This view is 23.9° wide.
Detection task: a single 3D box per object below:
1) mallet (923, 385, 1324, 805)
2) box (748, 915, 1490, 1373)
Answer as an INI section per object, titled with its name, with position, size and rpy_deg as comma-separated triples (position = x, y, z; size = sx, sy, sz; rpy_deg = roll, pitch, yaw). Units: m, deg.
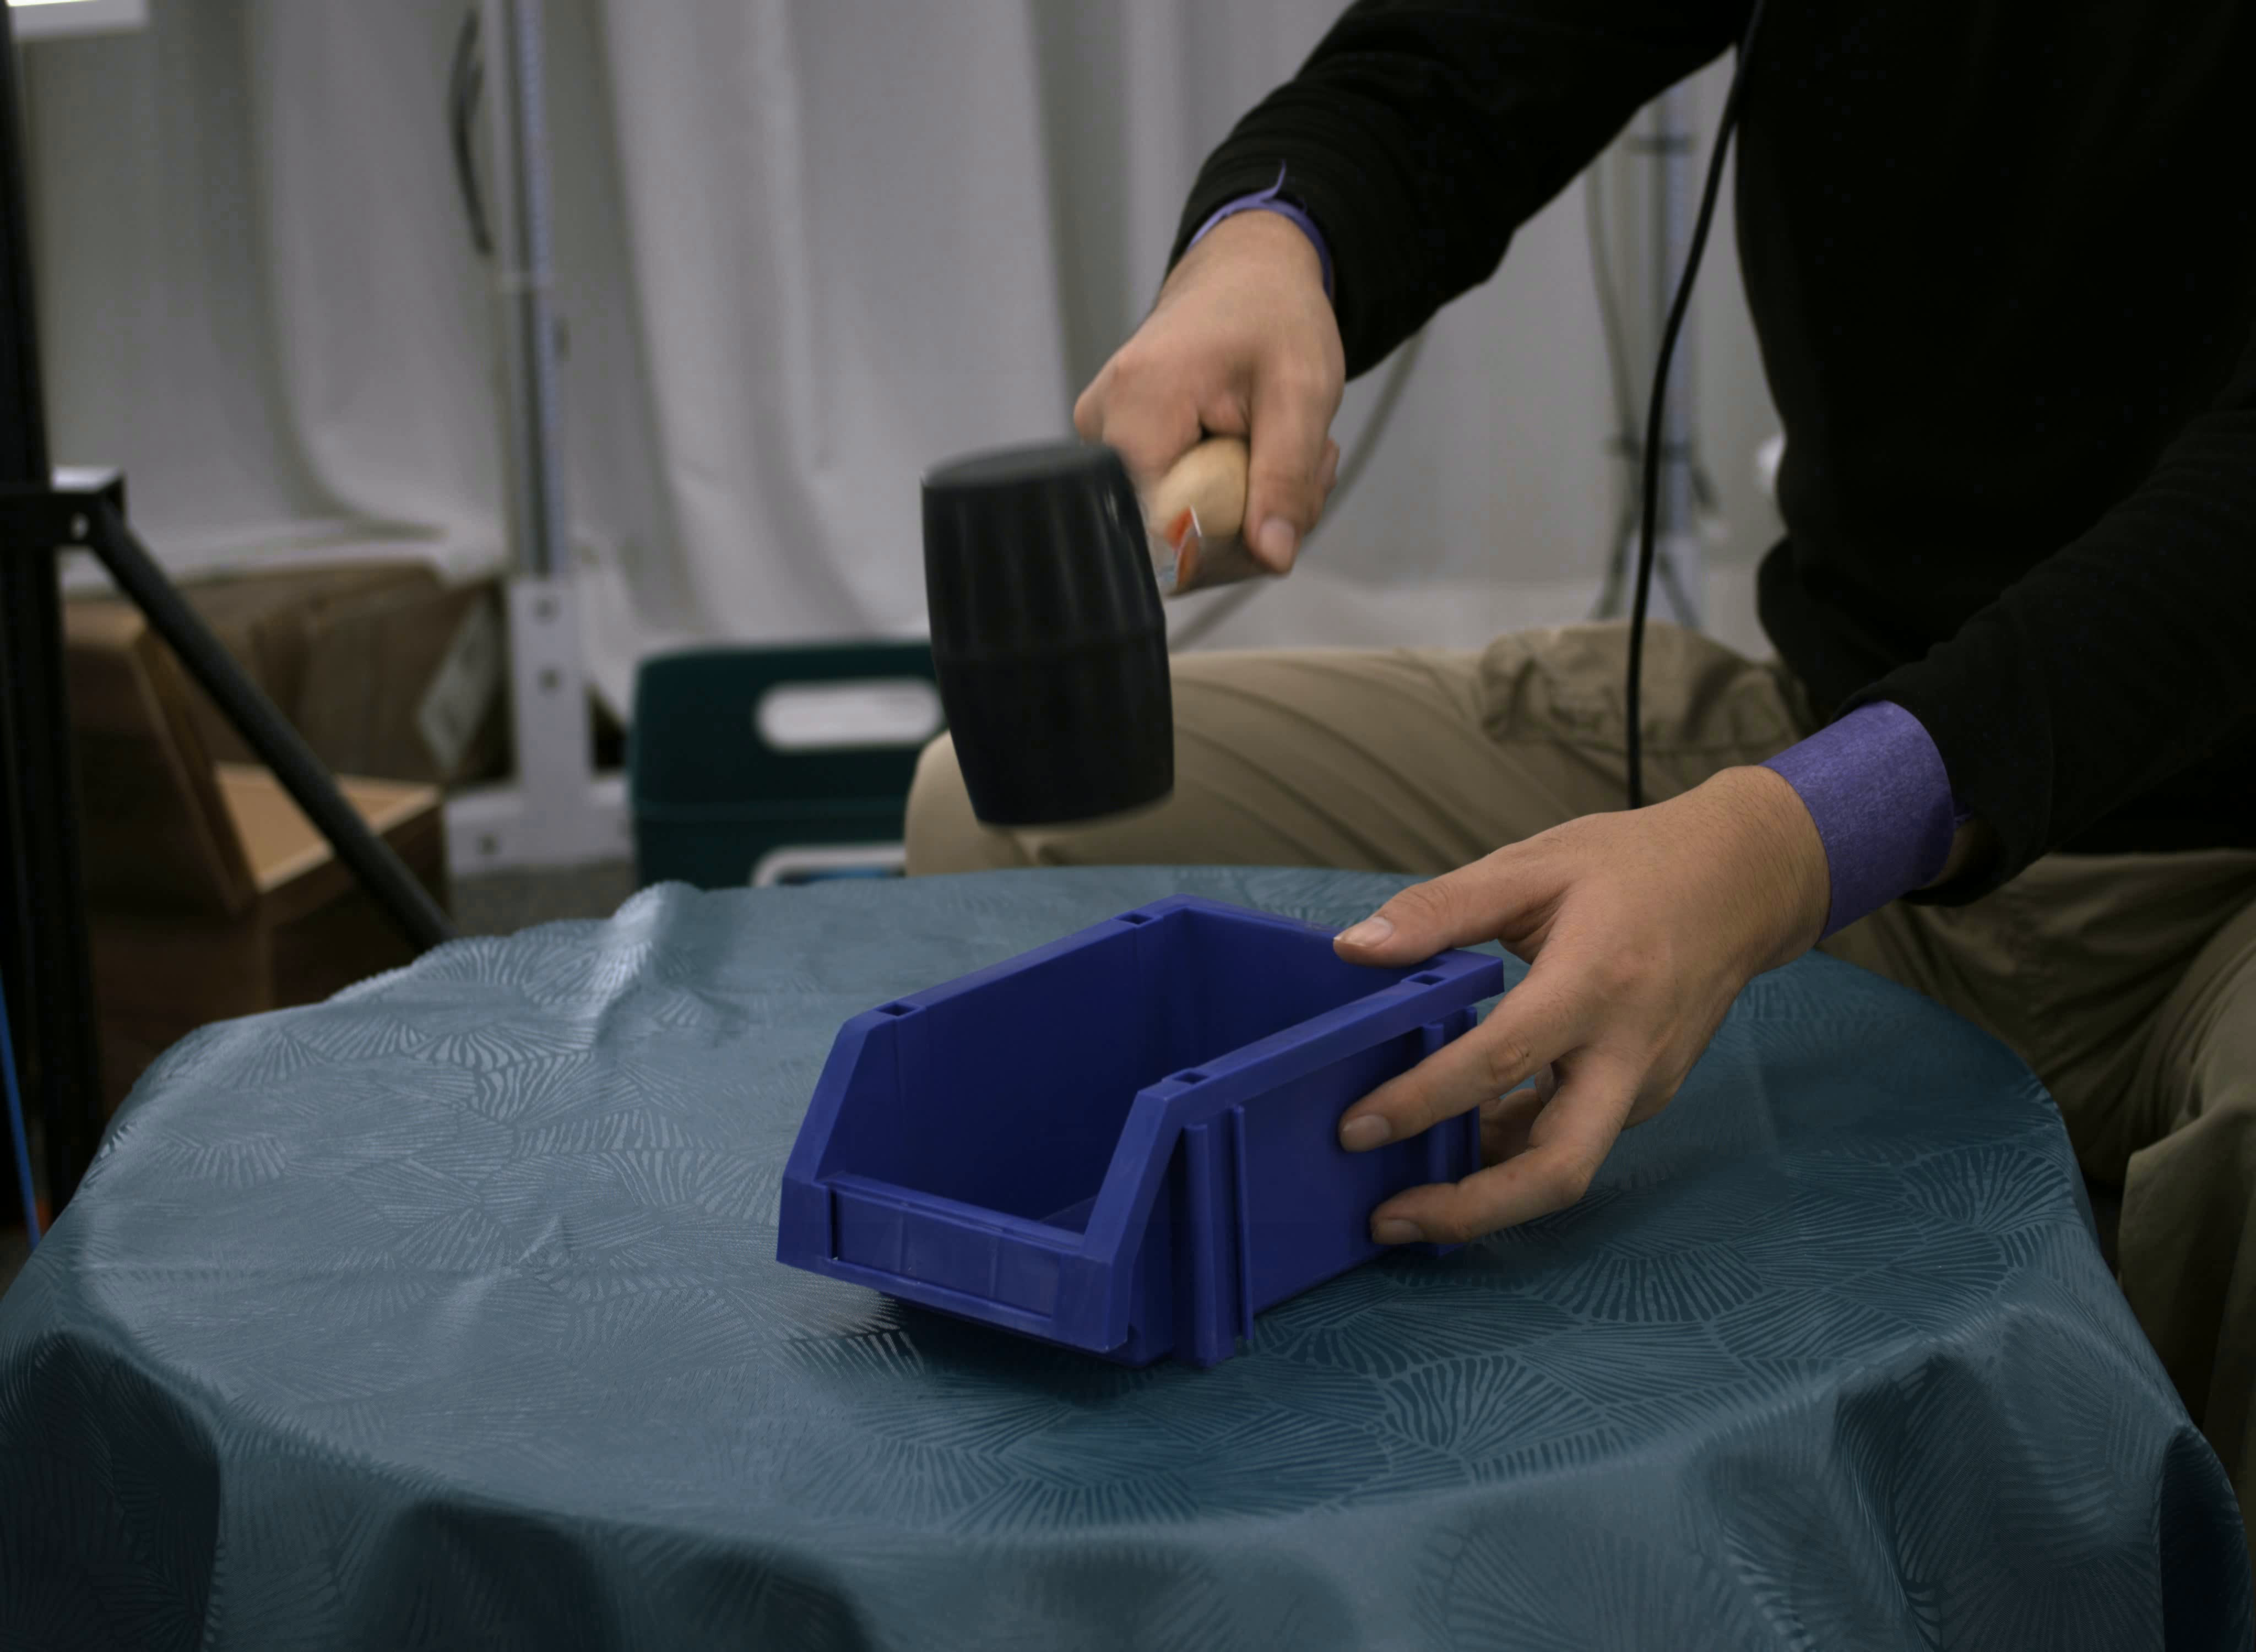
[mallet]
position = 0.018, -0.090, 1.556
size = 0.065, 0.102, 0.335
rpy_deg = -3, 12, 18
[box]
position = 0.001, 0.090, 1.471
size = 0.127, 0.082, 0.175
rpy_deg = 12, 17, 41
